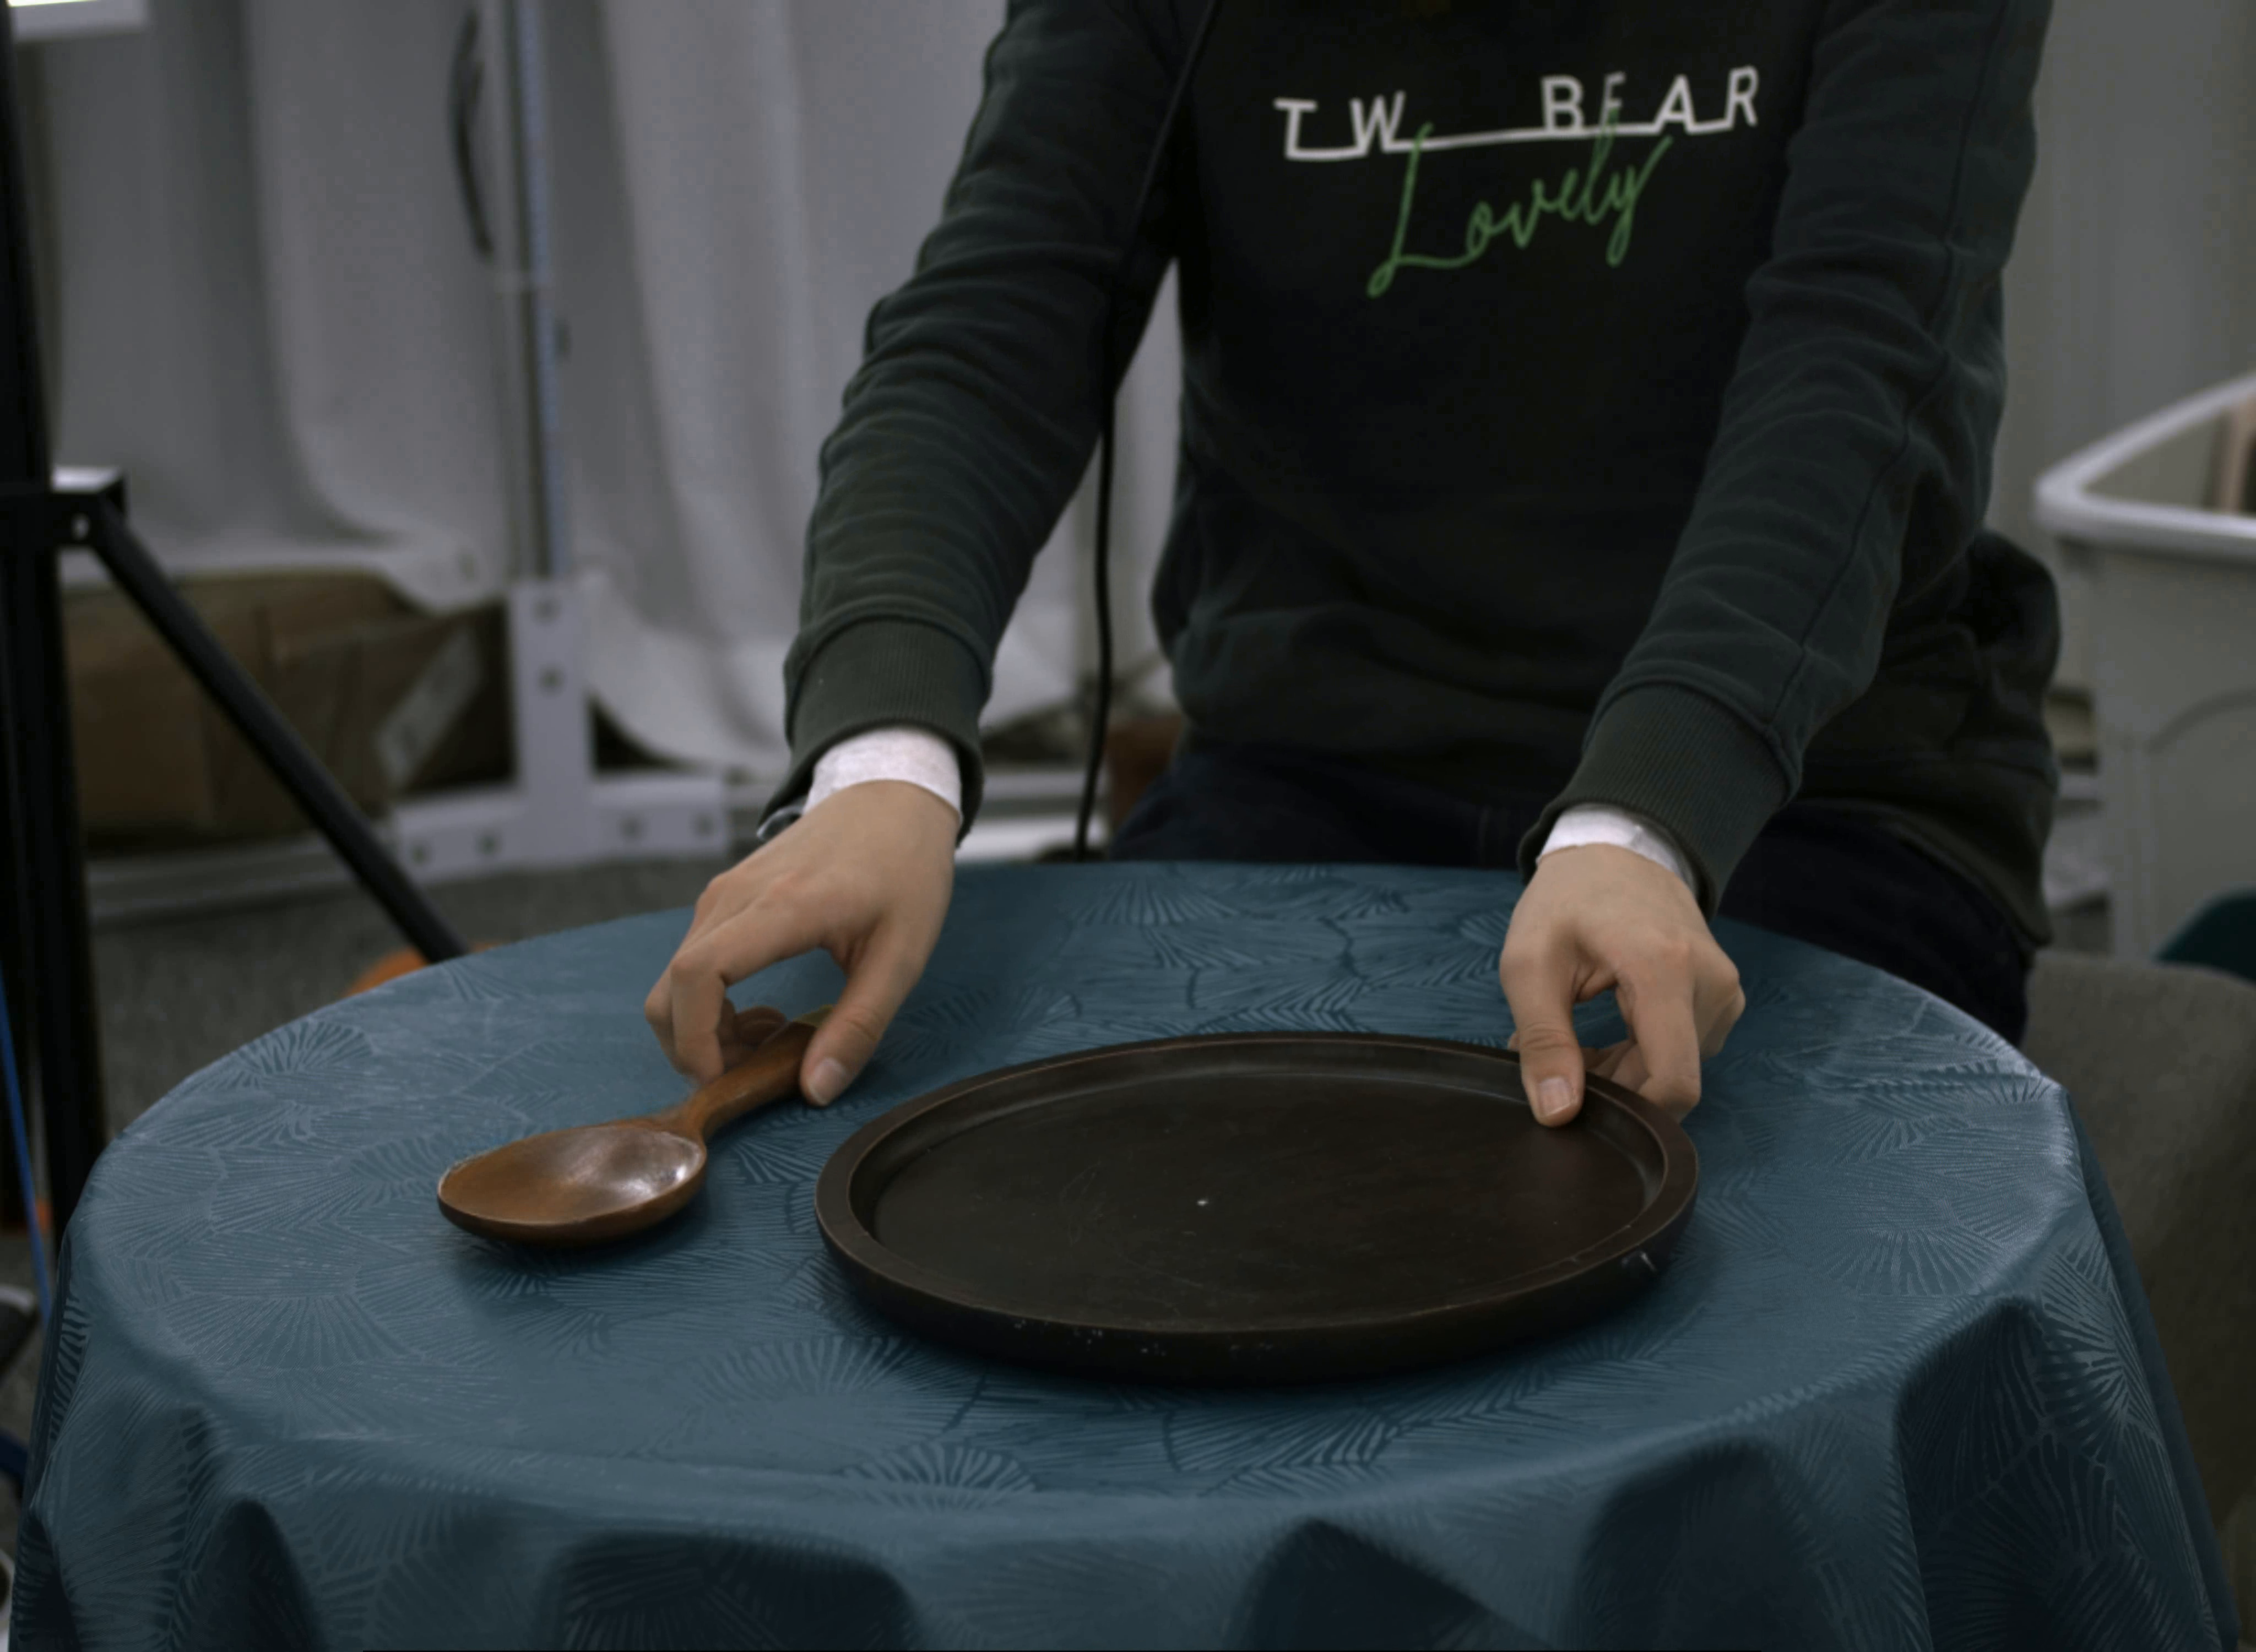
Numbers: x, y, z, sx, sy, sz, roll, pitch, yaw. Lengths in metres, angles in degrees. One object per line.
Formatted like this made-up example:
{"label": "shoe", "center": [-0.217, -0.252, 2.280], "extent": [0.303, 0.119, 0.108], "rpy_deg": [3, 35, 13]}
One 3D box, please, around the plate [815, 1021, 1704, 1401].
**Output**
{"label": "plate", "center": [0.037, 0.109, 1.508], "extent": [0.253, 0.029, 0.256], "rpy_deg": [-3, 17, -1]}

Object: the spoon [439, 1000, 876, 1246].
{"label": "spoon", "center": [-0.132, 0.091, 1.609], "extent": [0.076, 0.017, 0.212], "rpy_deg": [4, 17, 26]}
